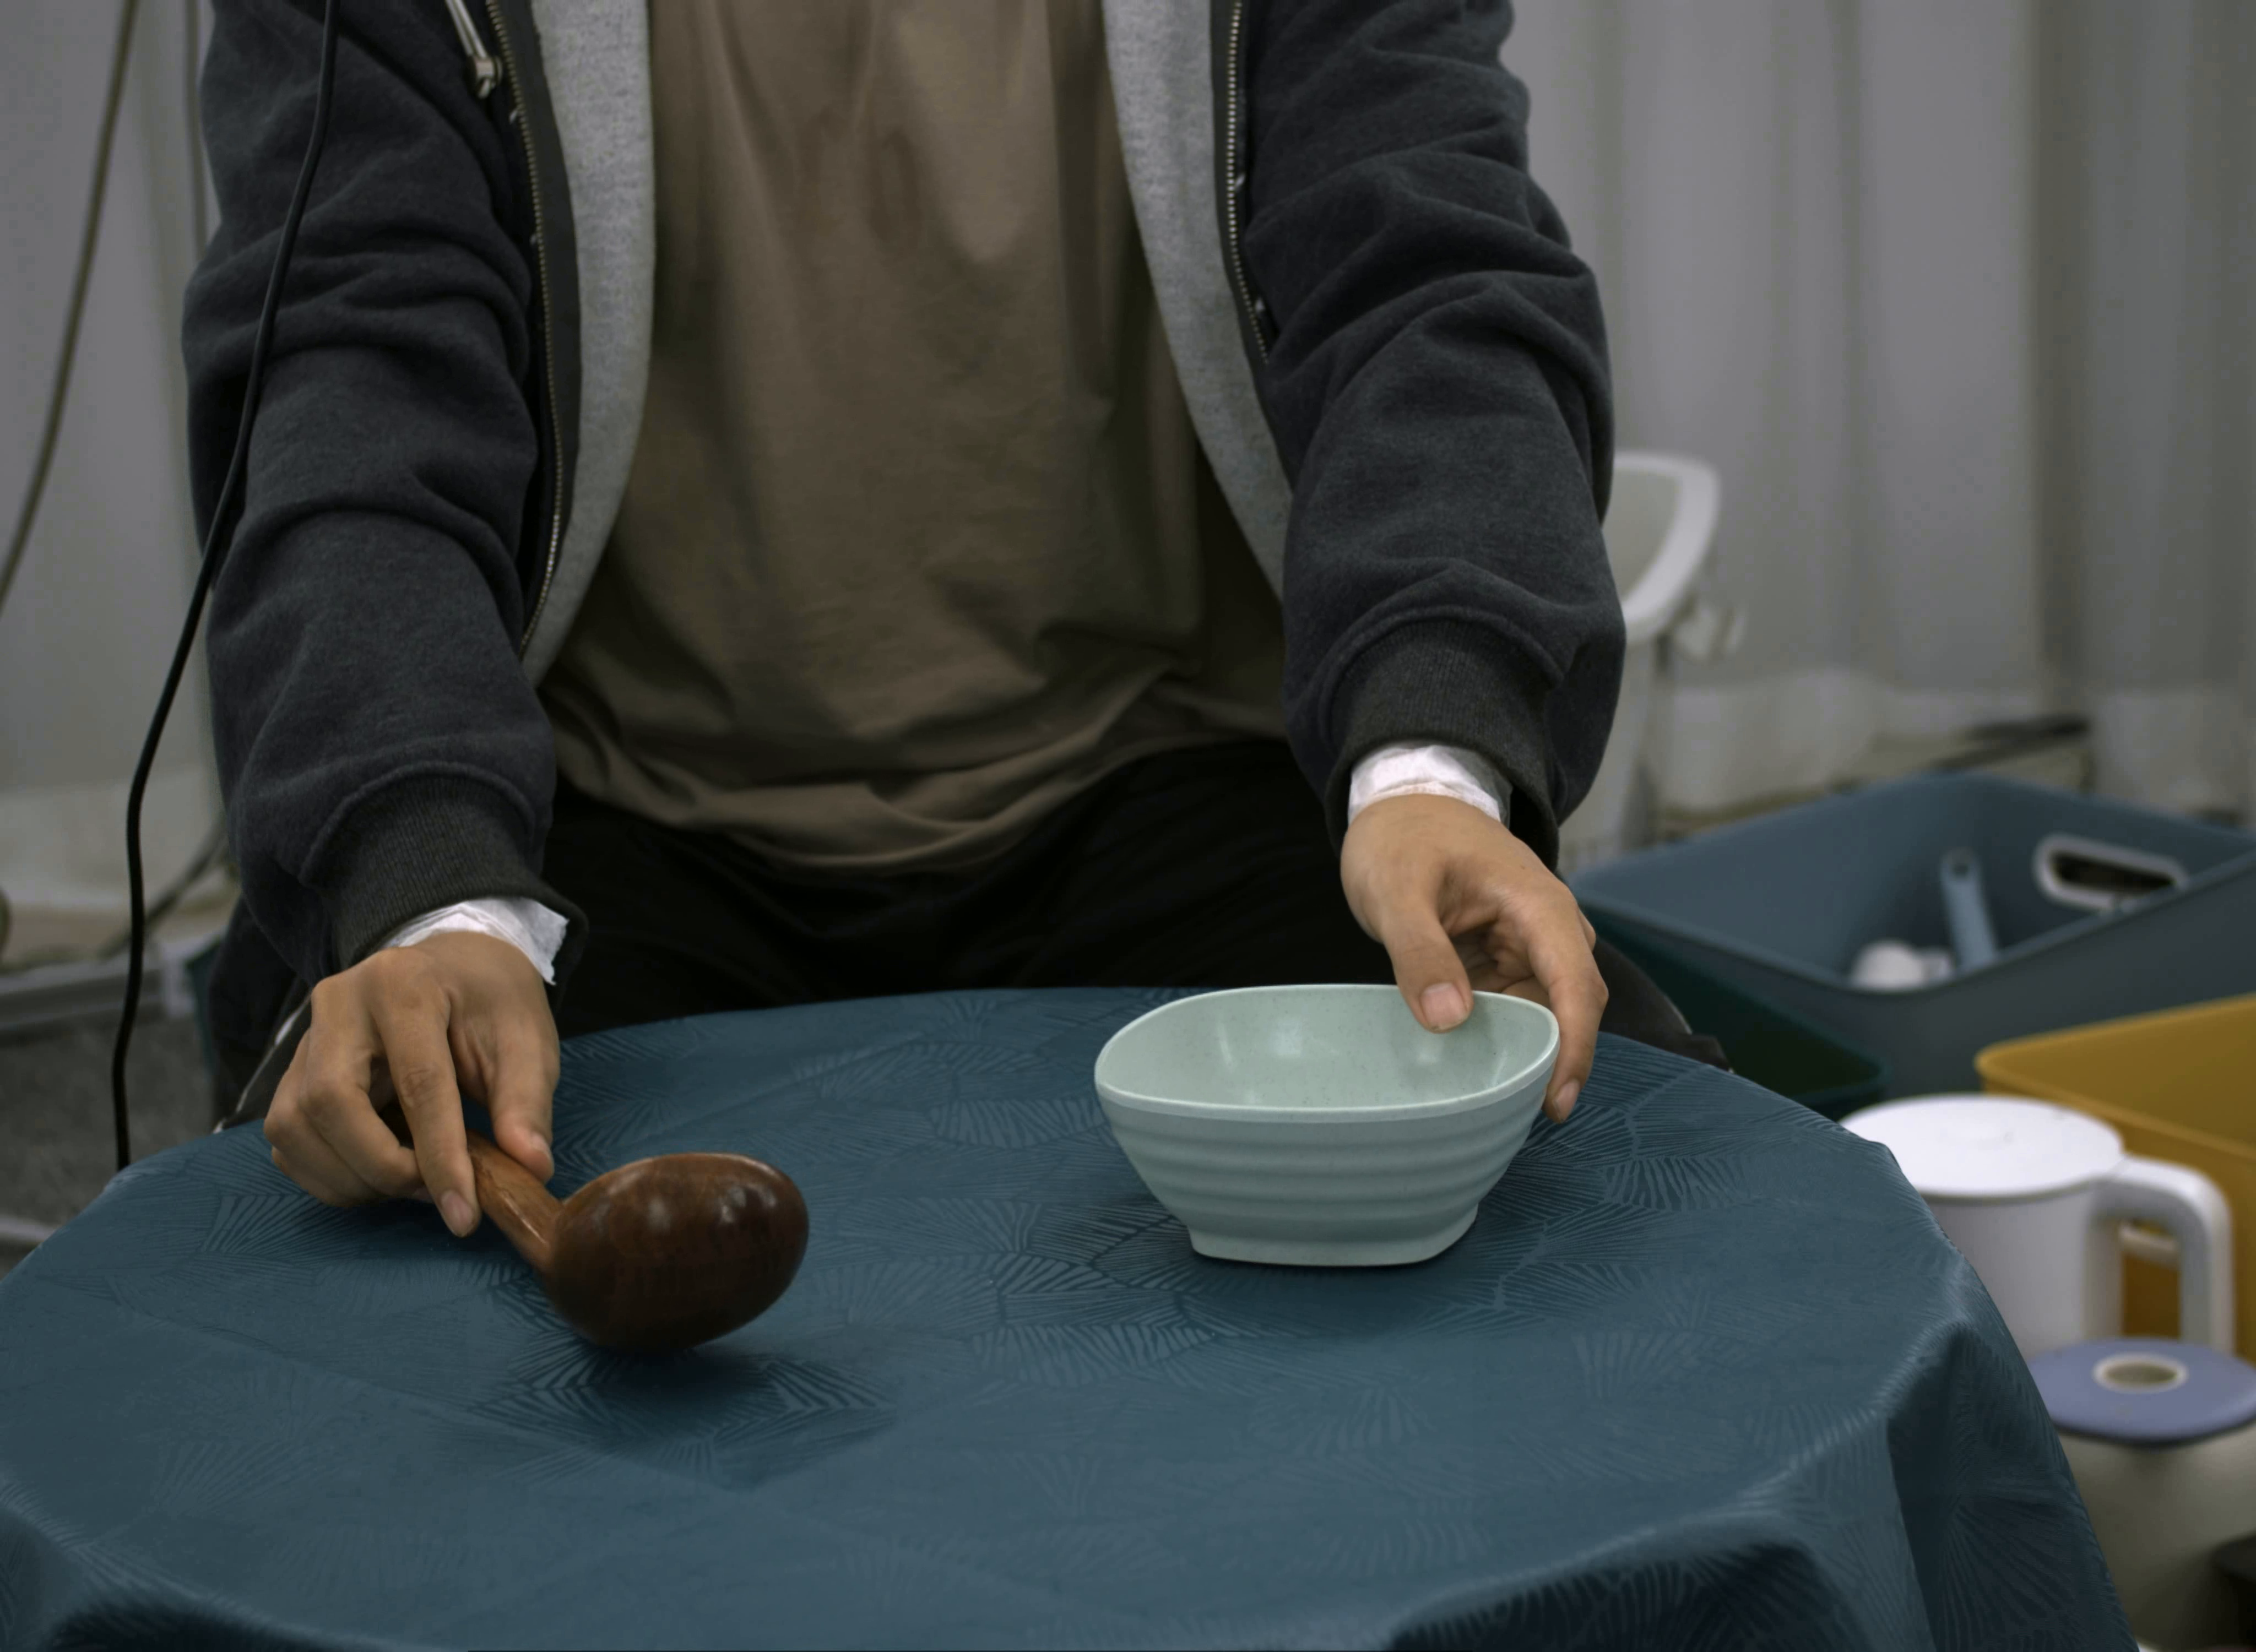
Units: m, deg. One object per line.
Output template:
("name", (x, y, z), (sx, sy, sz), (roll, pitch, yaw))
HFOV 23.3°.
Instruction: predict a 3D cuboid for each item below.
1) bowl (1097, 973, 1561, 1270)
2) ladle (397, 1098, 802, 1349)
("bowl", (0.063, 0.093, 1.667), (0.151, 0.058, 0.152), (-4, 15, 1))
("ladle", (-0.175, 0.095, 1.661), (0.081, 0.076, 0.276), (7, 11, -24))
